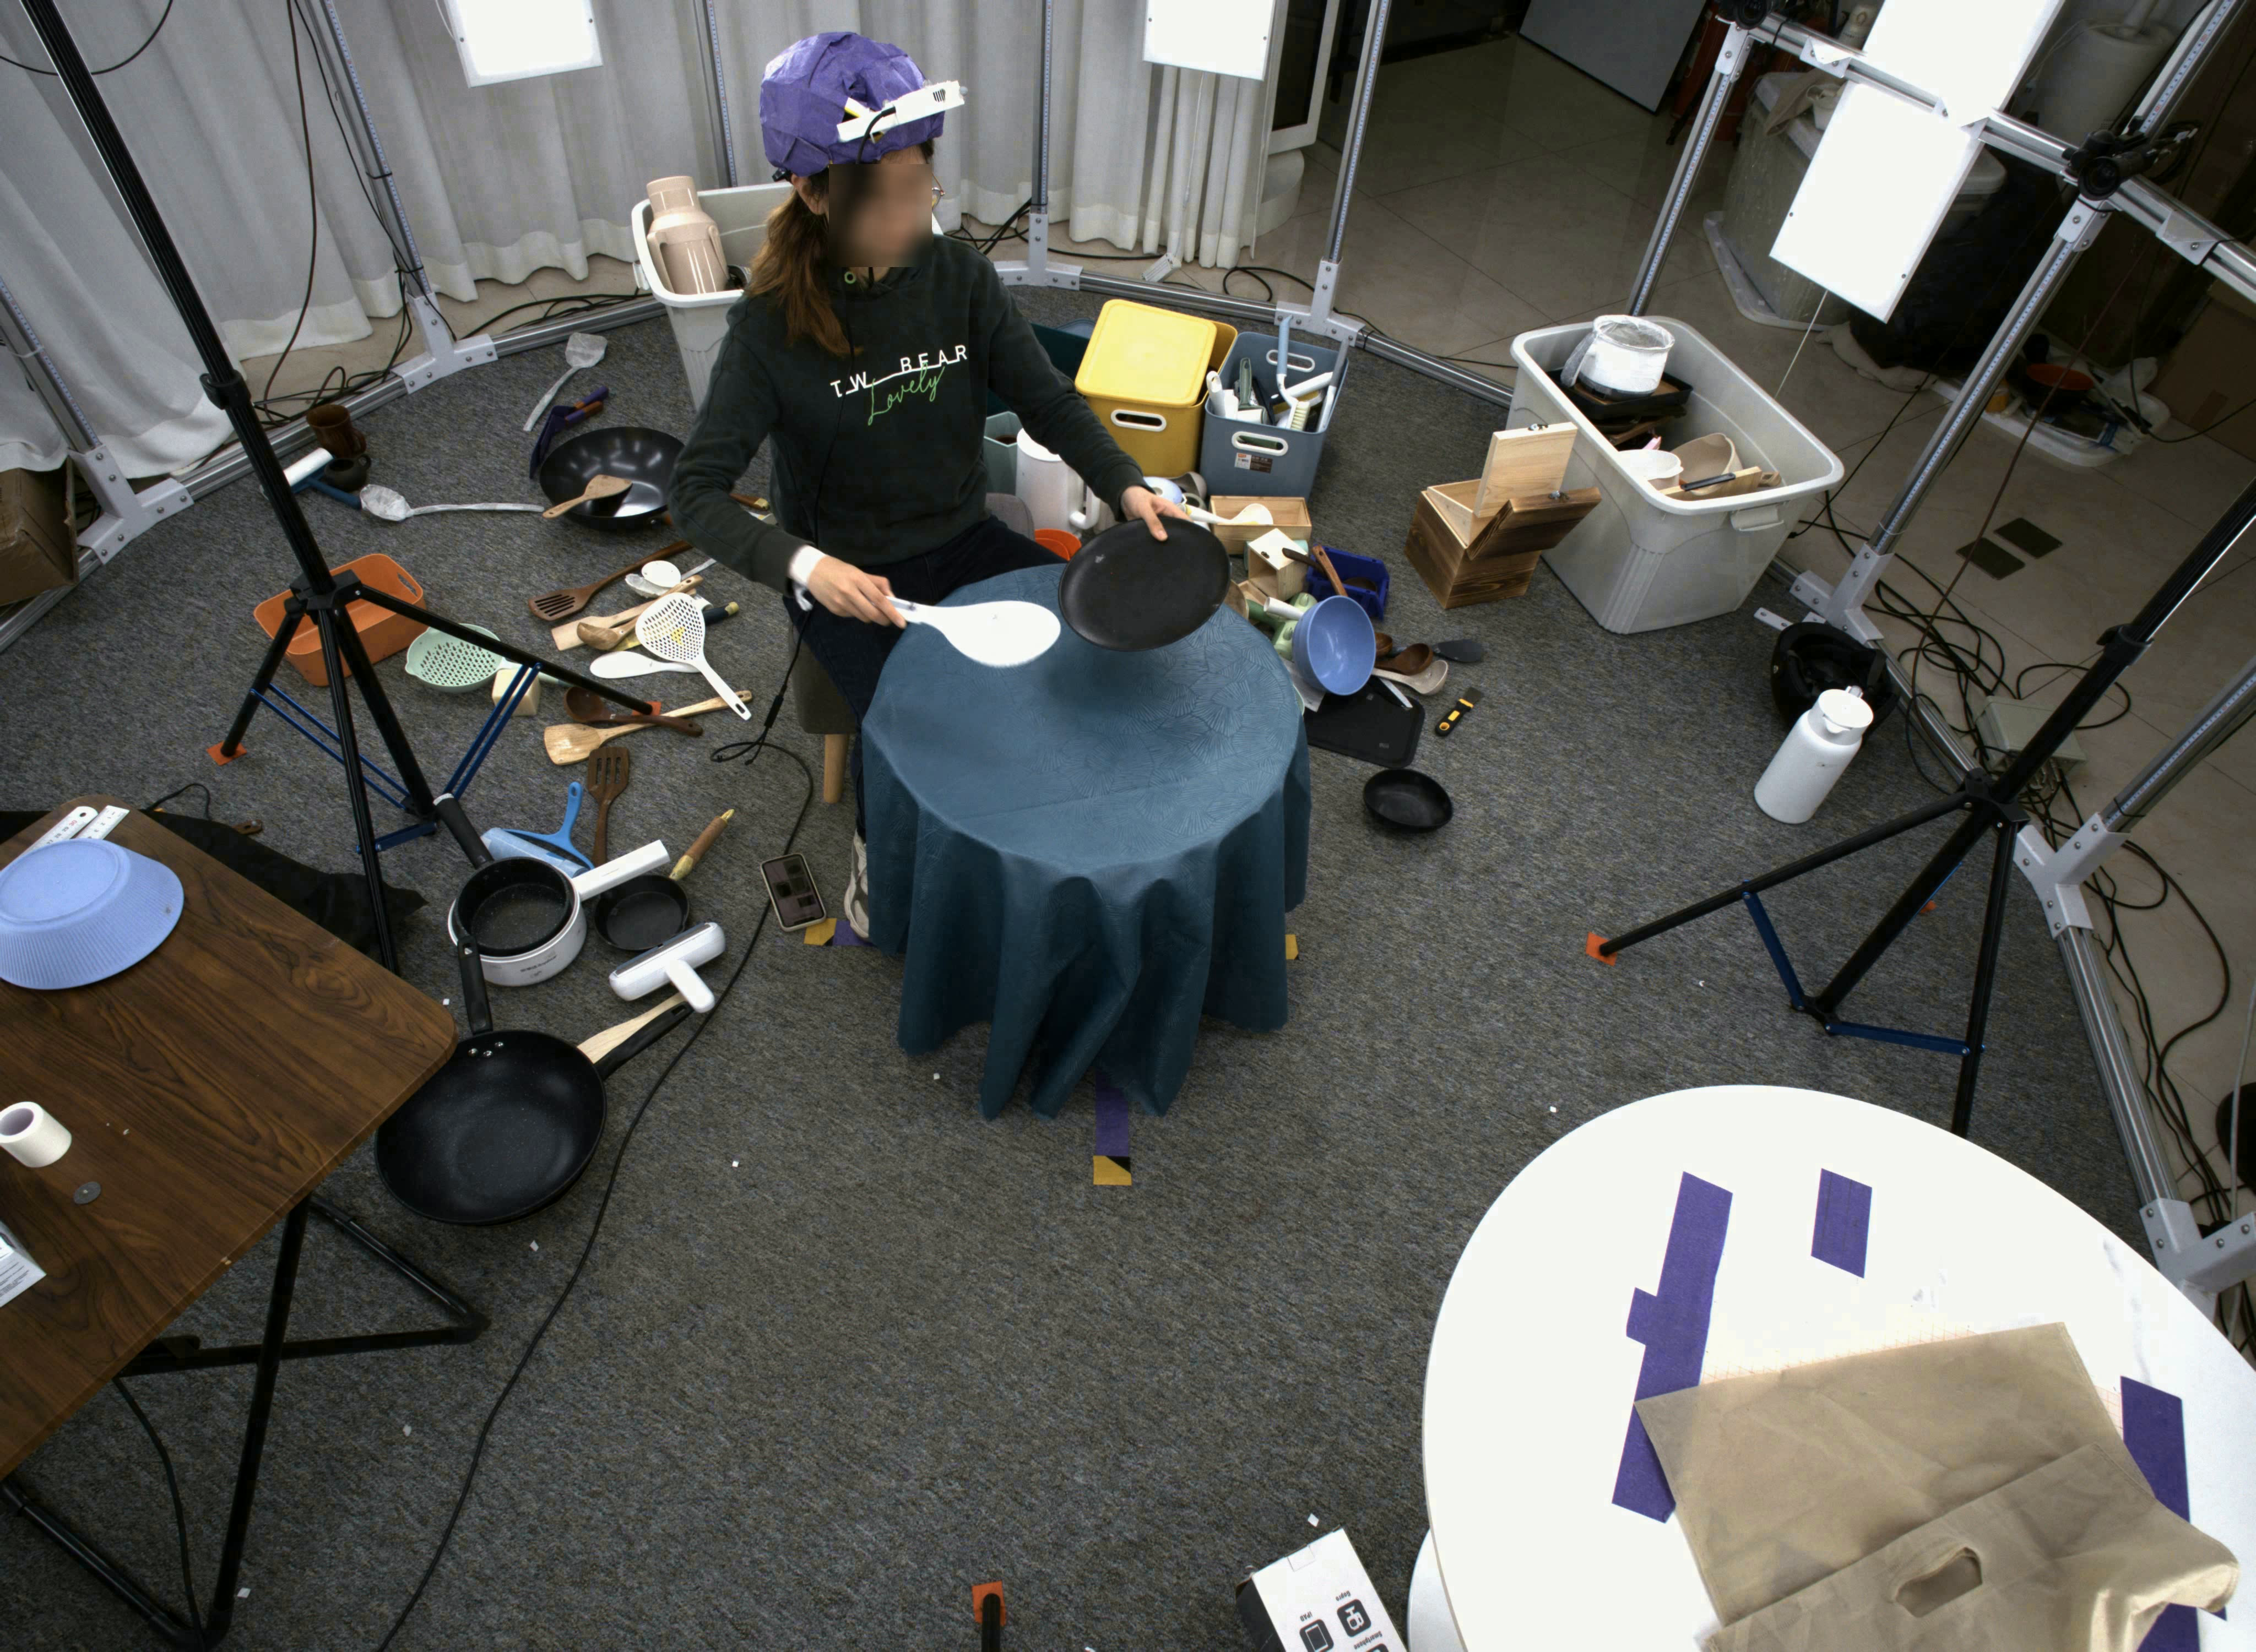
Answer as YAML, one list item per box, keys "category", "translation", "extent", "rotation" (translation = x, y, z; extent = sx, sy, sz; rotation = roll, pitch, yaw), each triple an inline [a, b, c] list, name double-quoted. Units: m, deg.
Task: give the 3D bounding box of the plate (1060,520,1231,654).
- category: "plate"
  translation: [0.025, -0.331, 1.795]
  extent: [0.244, 0.023, 0.250]
  rotation: [-7, 55, 10]

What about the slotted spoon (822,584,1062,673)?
- category: "slotted spoon"
  translation: [-0.246, -0.263, 1.657]
  extent: [0.352, 0.044, 0.138]
  rotation: [21, 45, 20]
